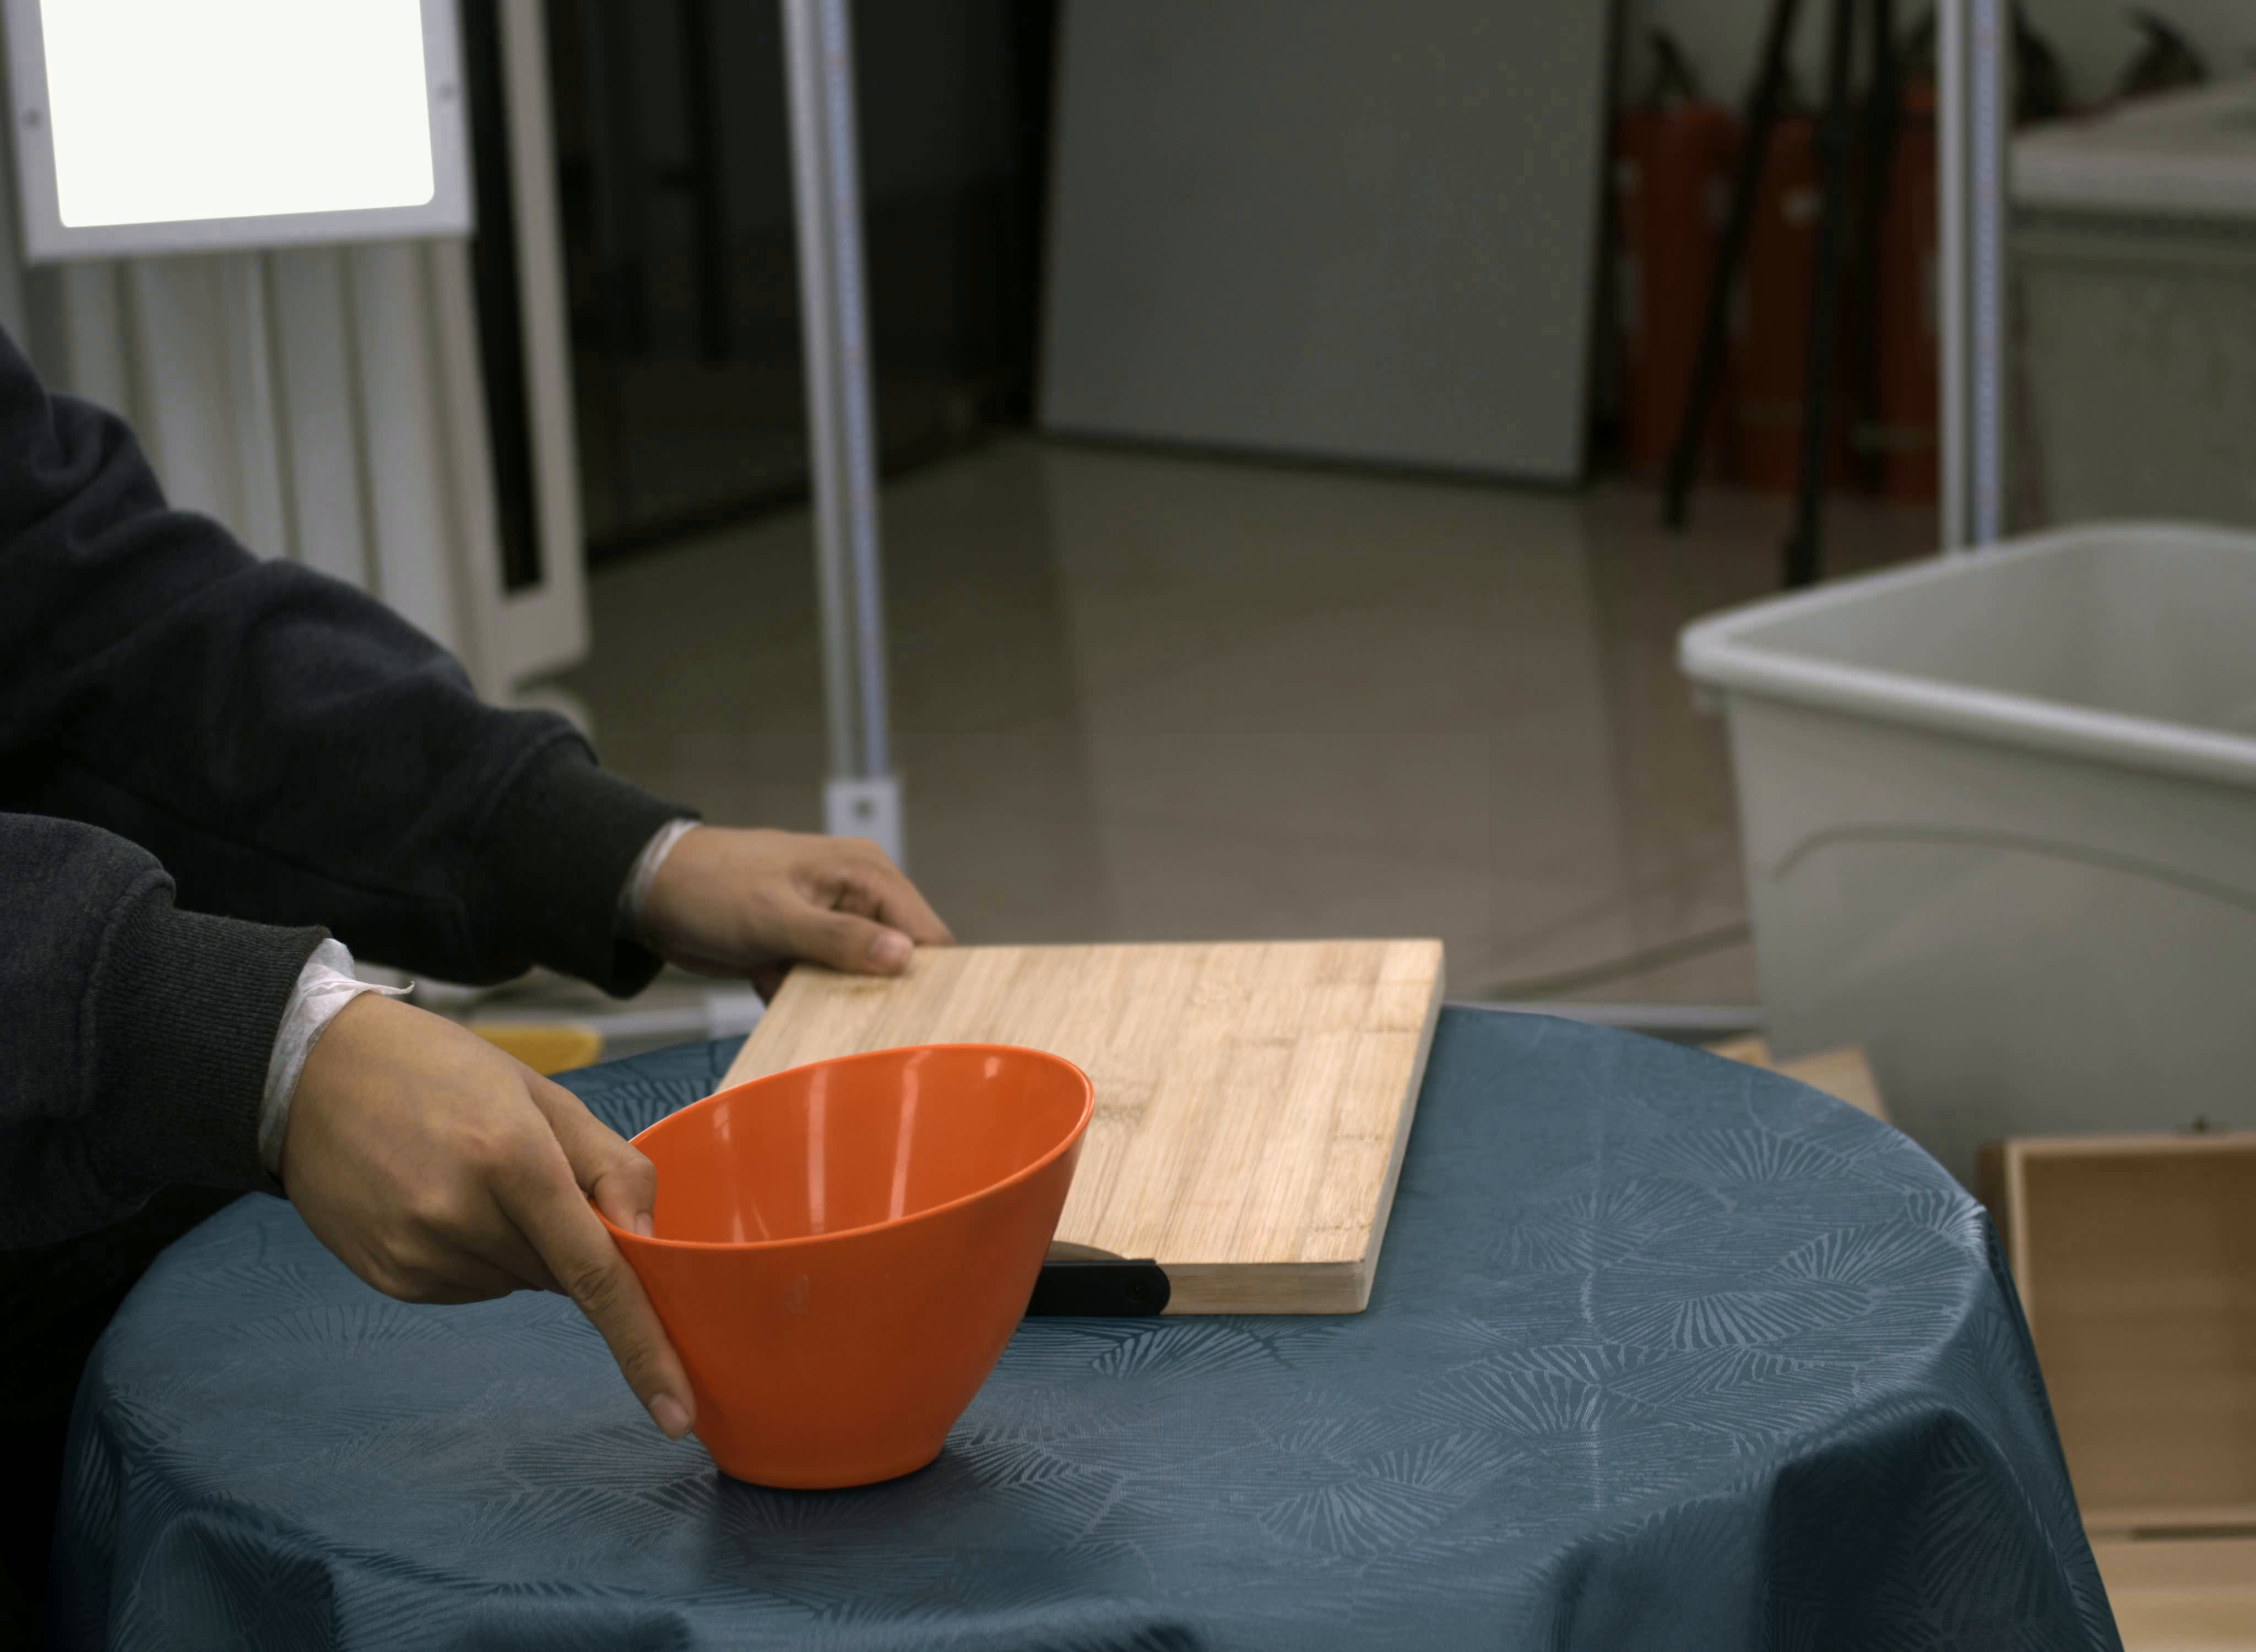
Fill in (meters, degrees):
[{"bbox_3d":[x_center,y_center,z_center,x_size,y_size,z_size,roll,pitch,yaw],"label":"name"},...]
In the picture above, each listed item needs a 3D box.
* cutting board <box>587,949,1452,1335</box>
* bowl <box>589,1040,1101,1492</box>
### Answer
[{"bbox_3d":[-0.024,0.101,1.809,0.248,0.024,0.348,-3,15,8],"label":"cutting board"},{"bbox_3d":[-0.079,0.128,1.541,0.146,0.106,0.148,-1,12,-1],"label":"bowl"}]
